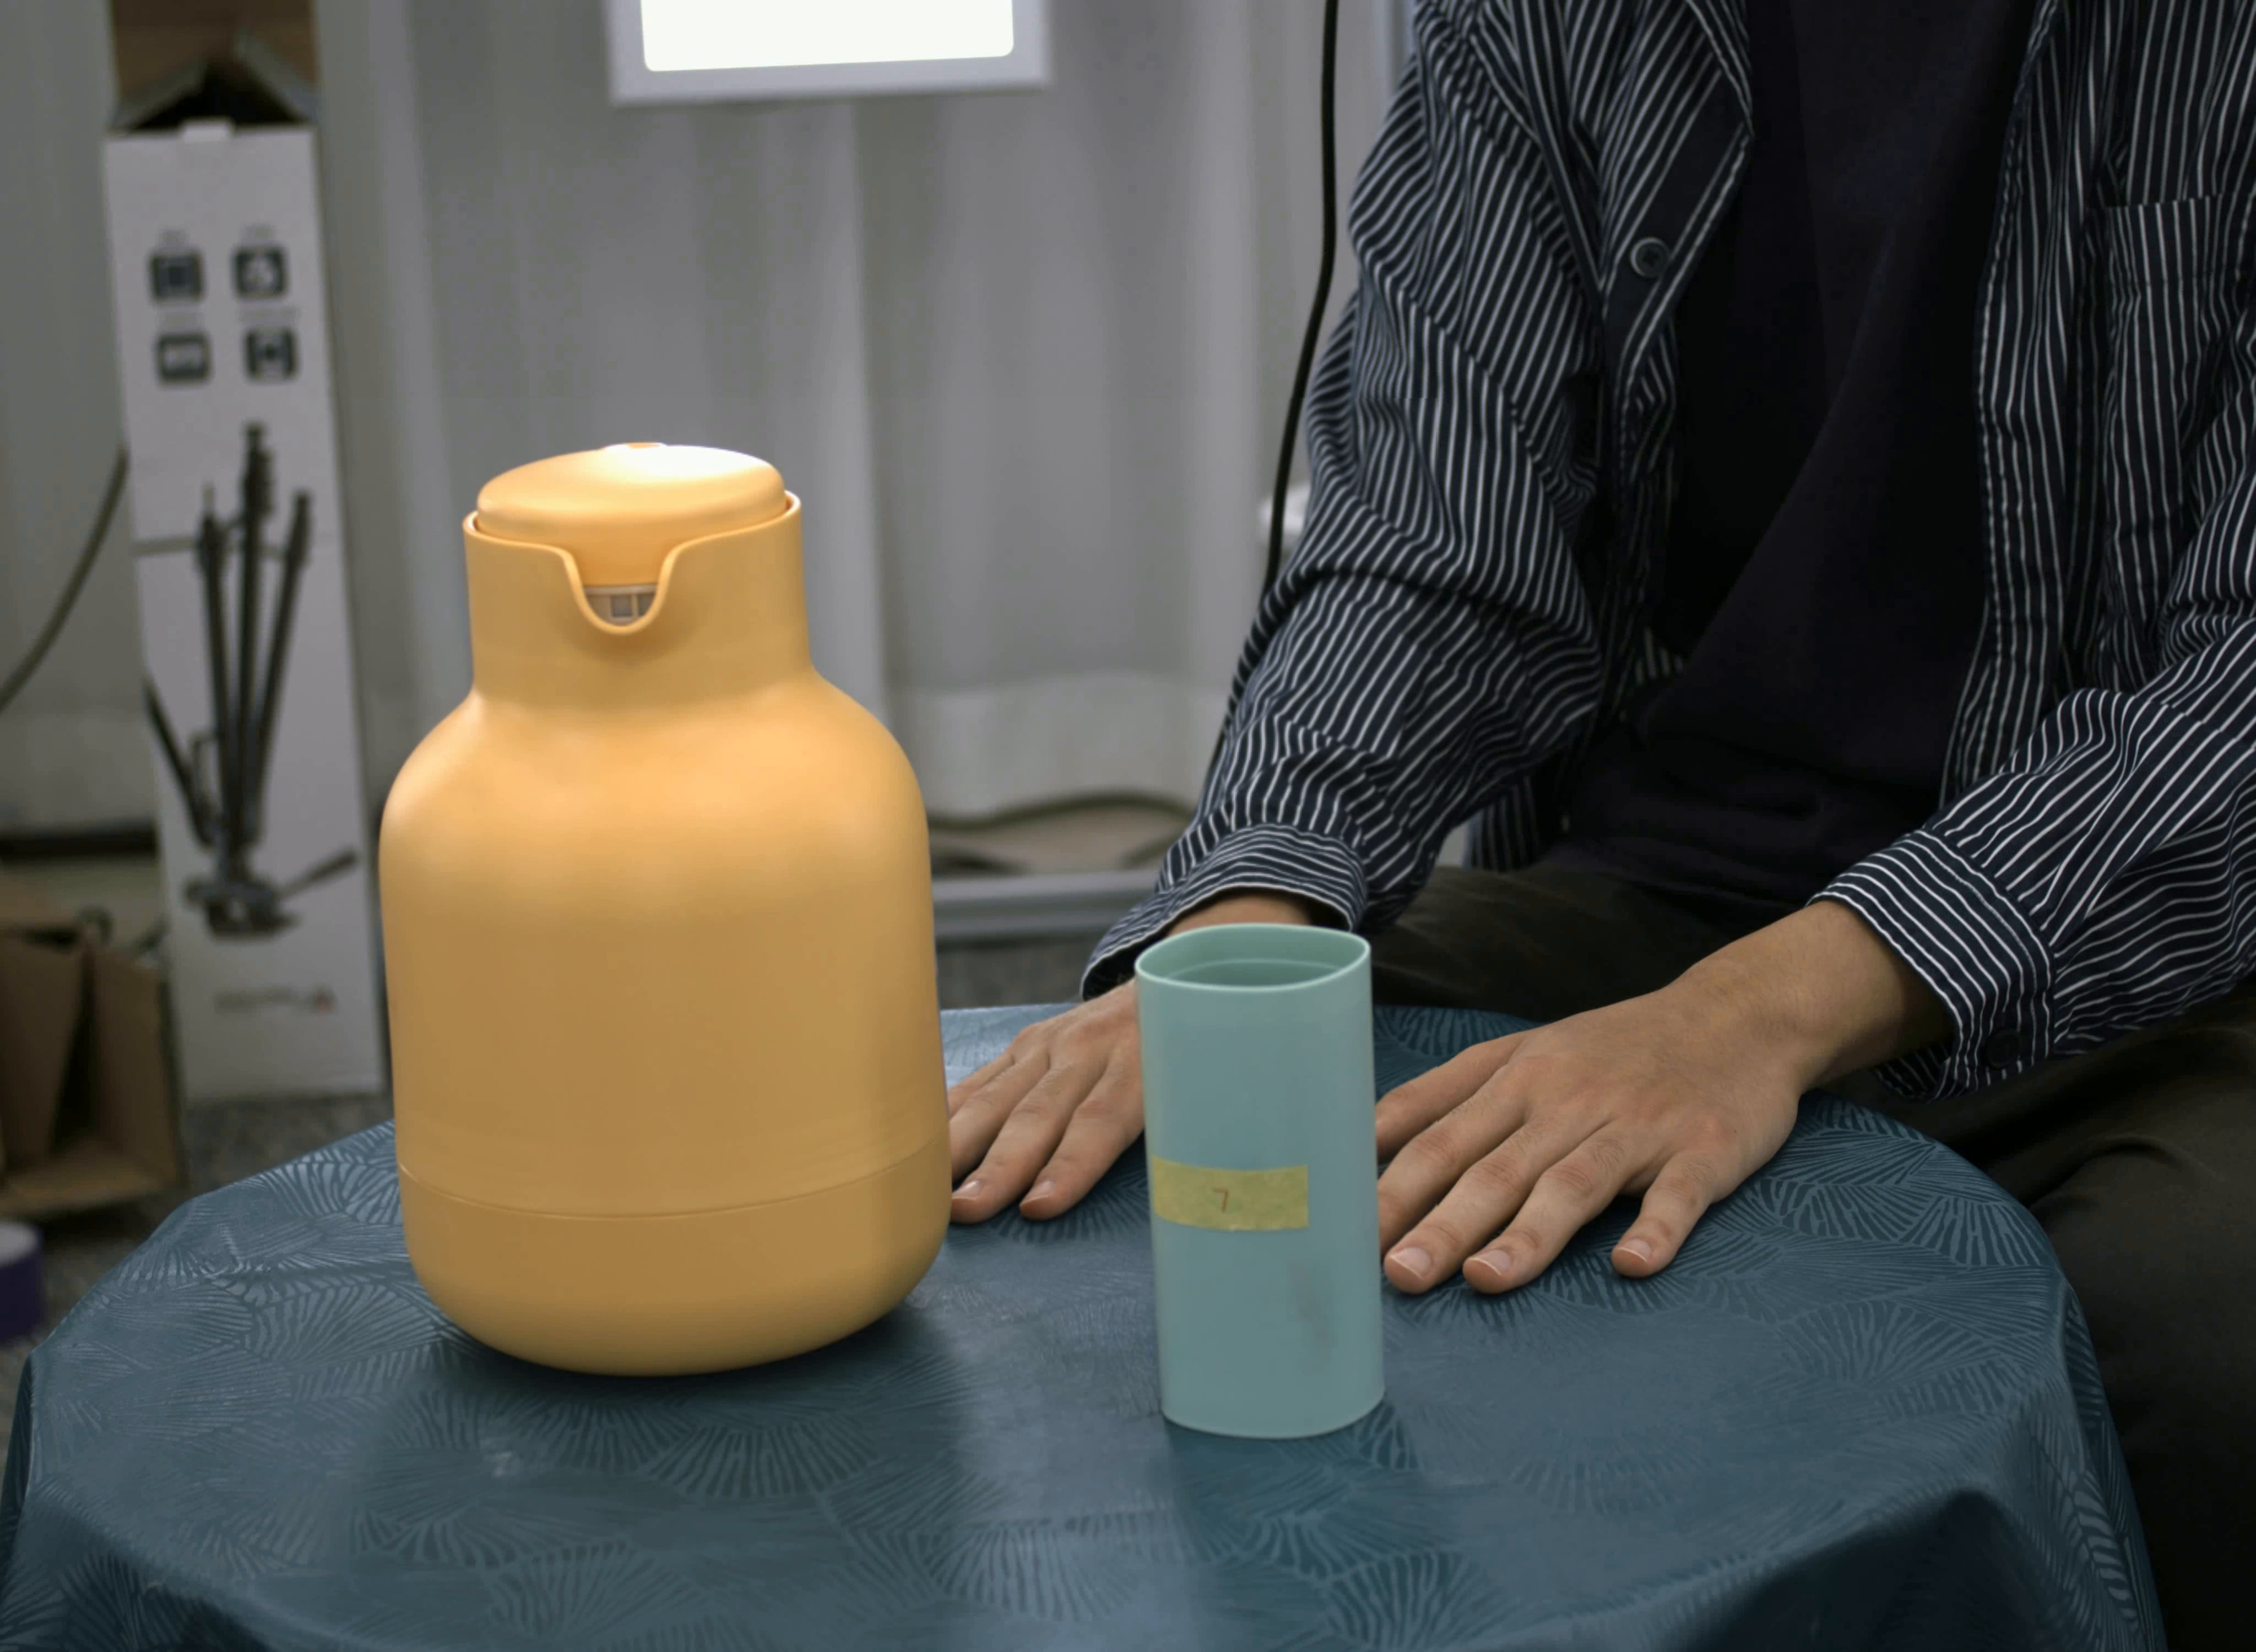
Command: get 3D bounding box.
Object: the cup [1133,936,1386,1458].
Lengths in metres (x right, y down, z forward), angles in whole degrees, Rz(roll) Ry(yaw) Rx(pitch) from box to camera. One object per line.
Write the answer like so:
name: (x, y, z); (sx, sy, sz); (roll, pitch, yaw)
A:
cup: (0.038, 0.102, 1.518); (0.066, 0.132, 0.067); (-3, 14, 1)

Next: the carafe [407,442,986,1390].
carafe: (-0.127, 0.018, 1.605); (0.163, 0.259, 0.204); (-3, 14, -3)
